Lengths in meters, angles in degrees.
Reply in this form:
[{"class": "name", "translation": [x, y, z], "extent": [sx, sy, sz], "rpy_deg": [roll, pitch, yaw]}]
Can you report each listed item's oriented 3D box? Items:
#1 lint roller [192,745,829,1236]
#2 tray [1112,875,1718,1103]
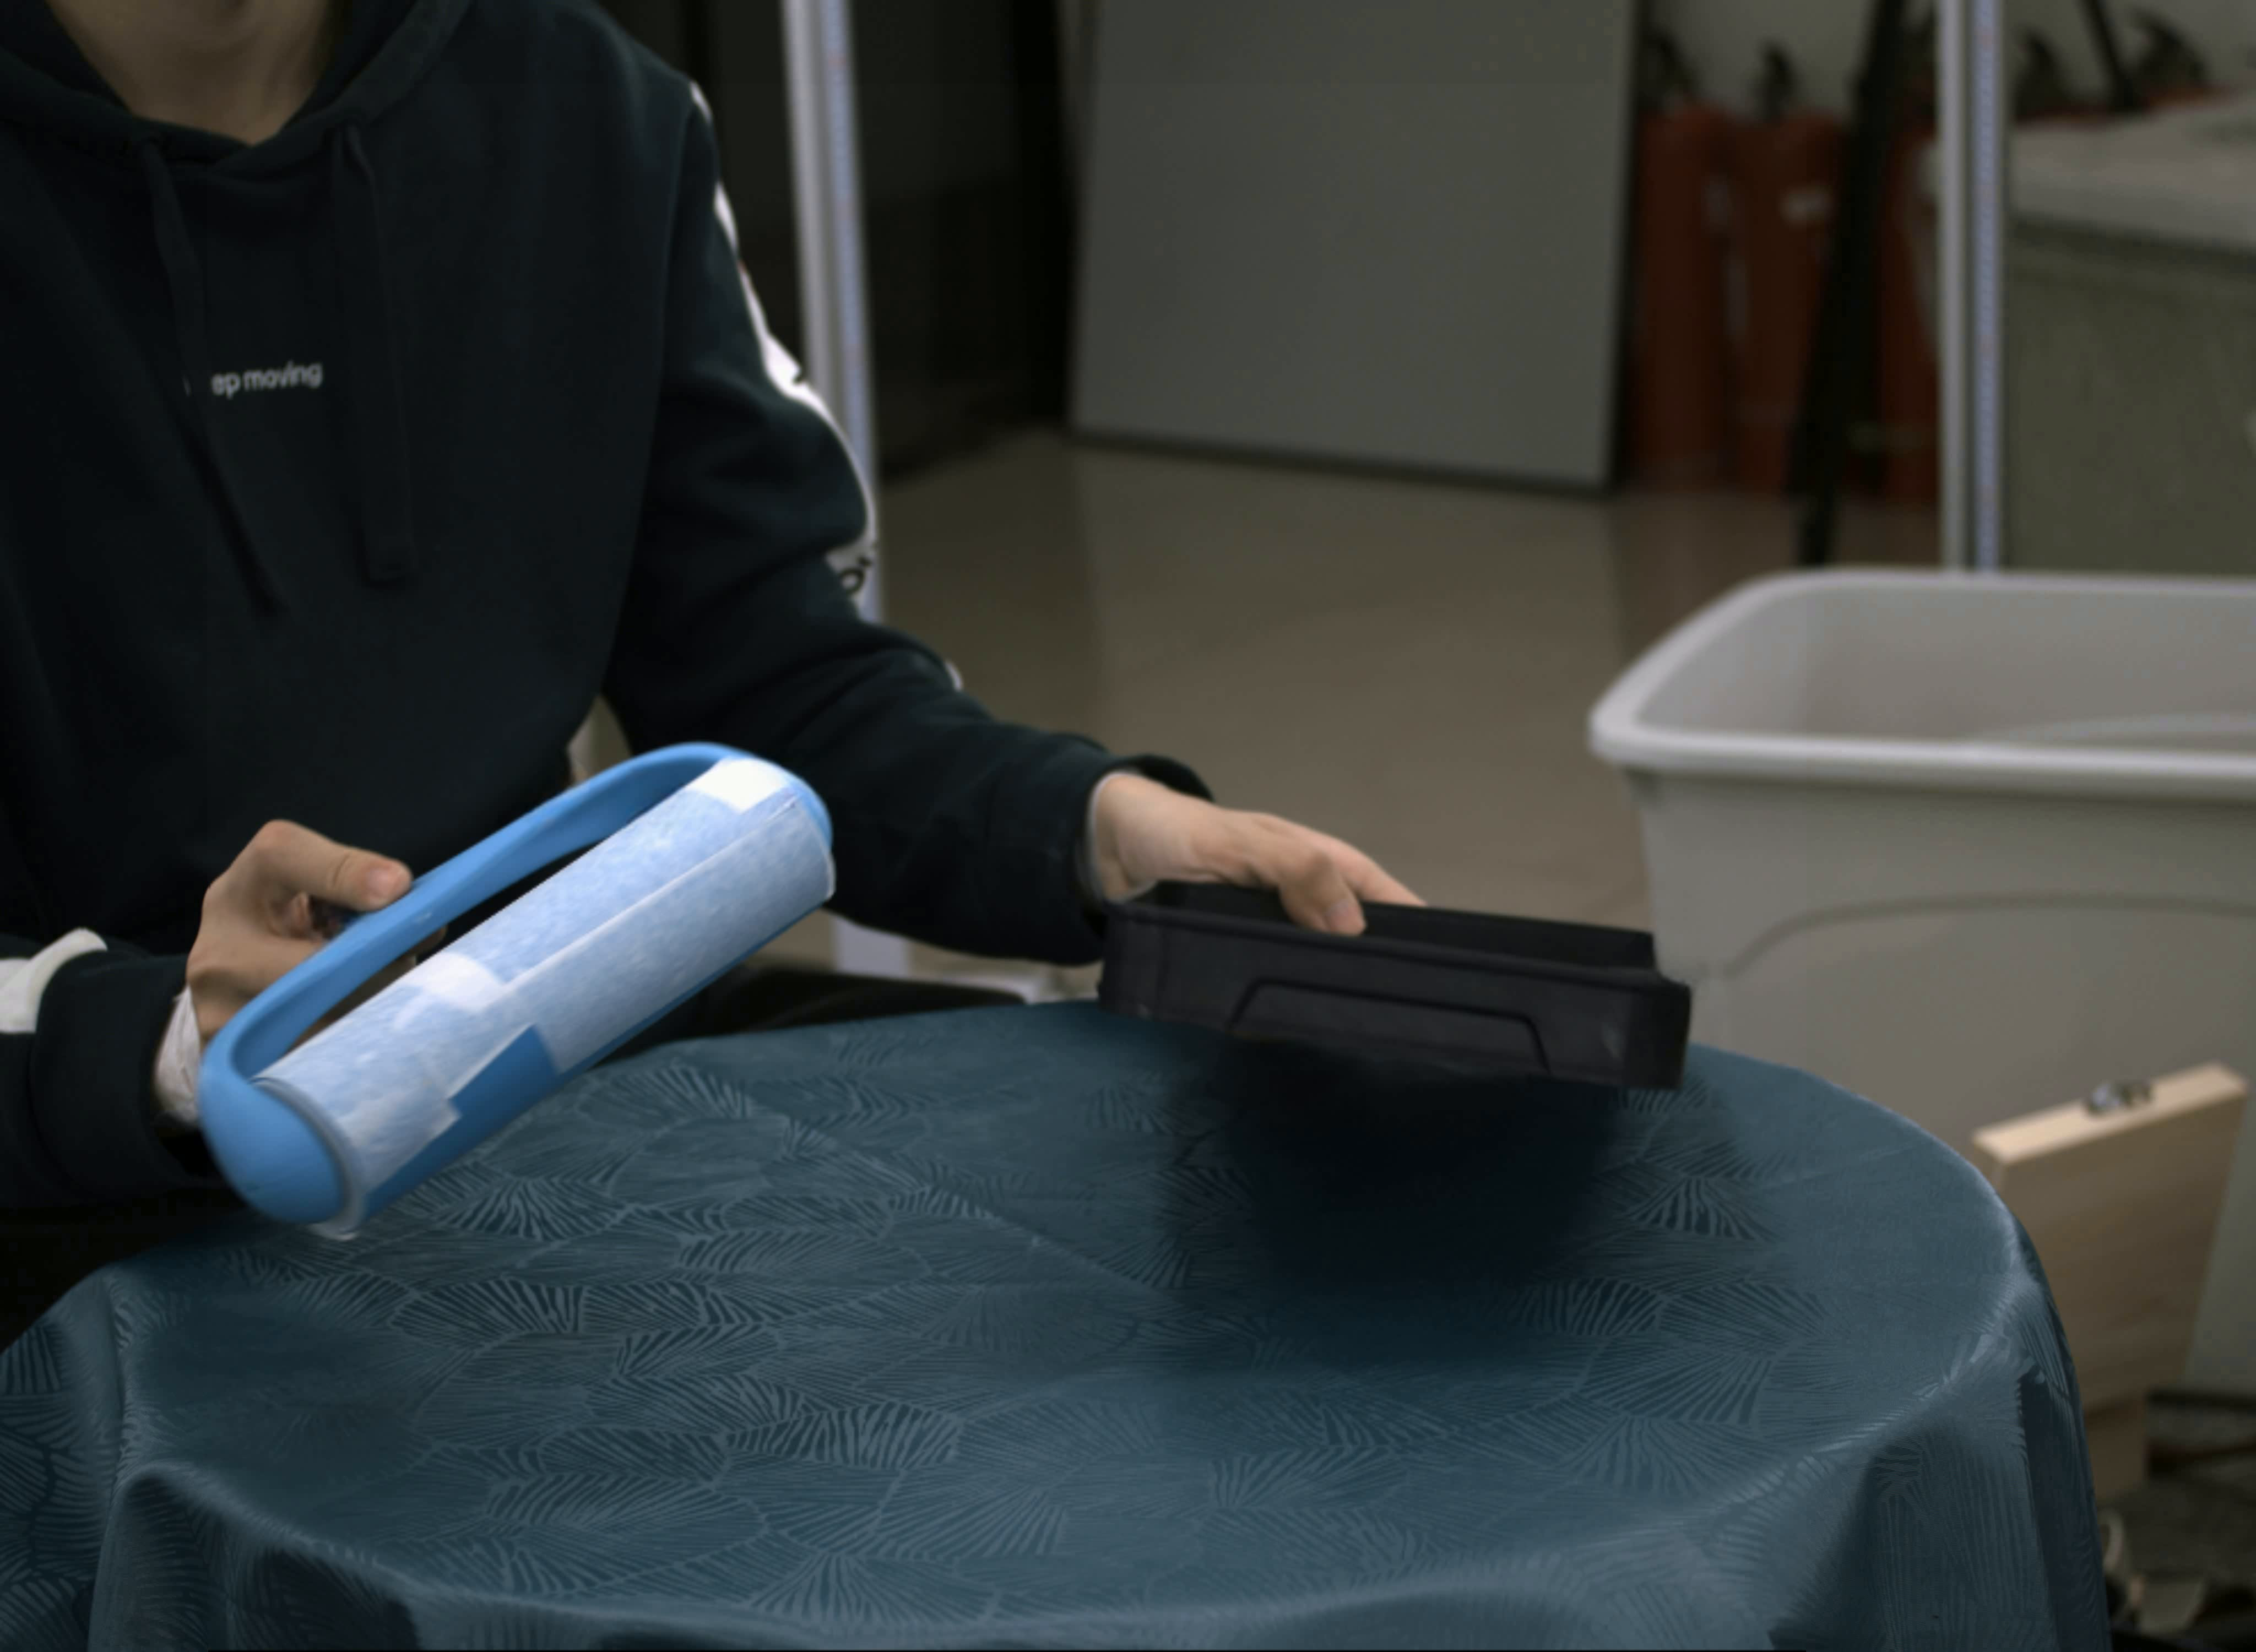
[{"class": "lint roller", "translation": [-0.212, 0.052, 1.633], "extent": [0.226, 0.068, 0.182], "rpy_deg": [-38, 19, -36]}, {"class": "tray", "translation": [0.089, 0.050, 1.744], "extent": [0.182, 0.037, 0.317], "rpy_deg": [6, 3, 2]}]
